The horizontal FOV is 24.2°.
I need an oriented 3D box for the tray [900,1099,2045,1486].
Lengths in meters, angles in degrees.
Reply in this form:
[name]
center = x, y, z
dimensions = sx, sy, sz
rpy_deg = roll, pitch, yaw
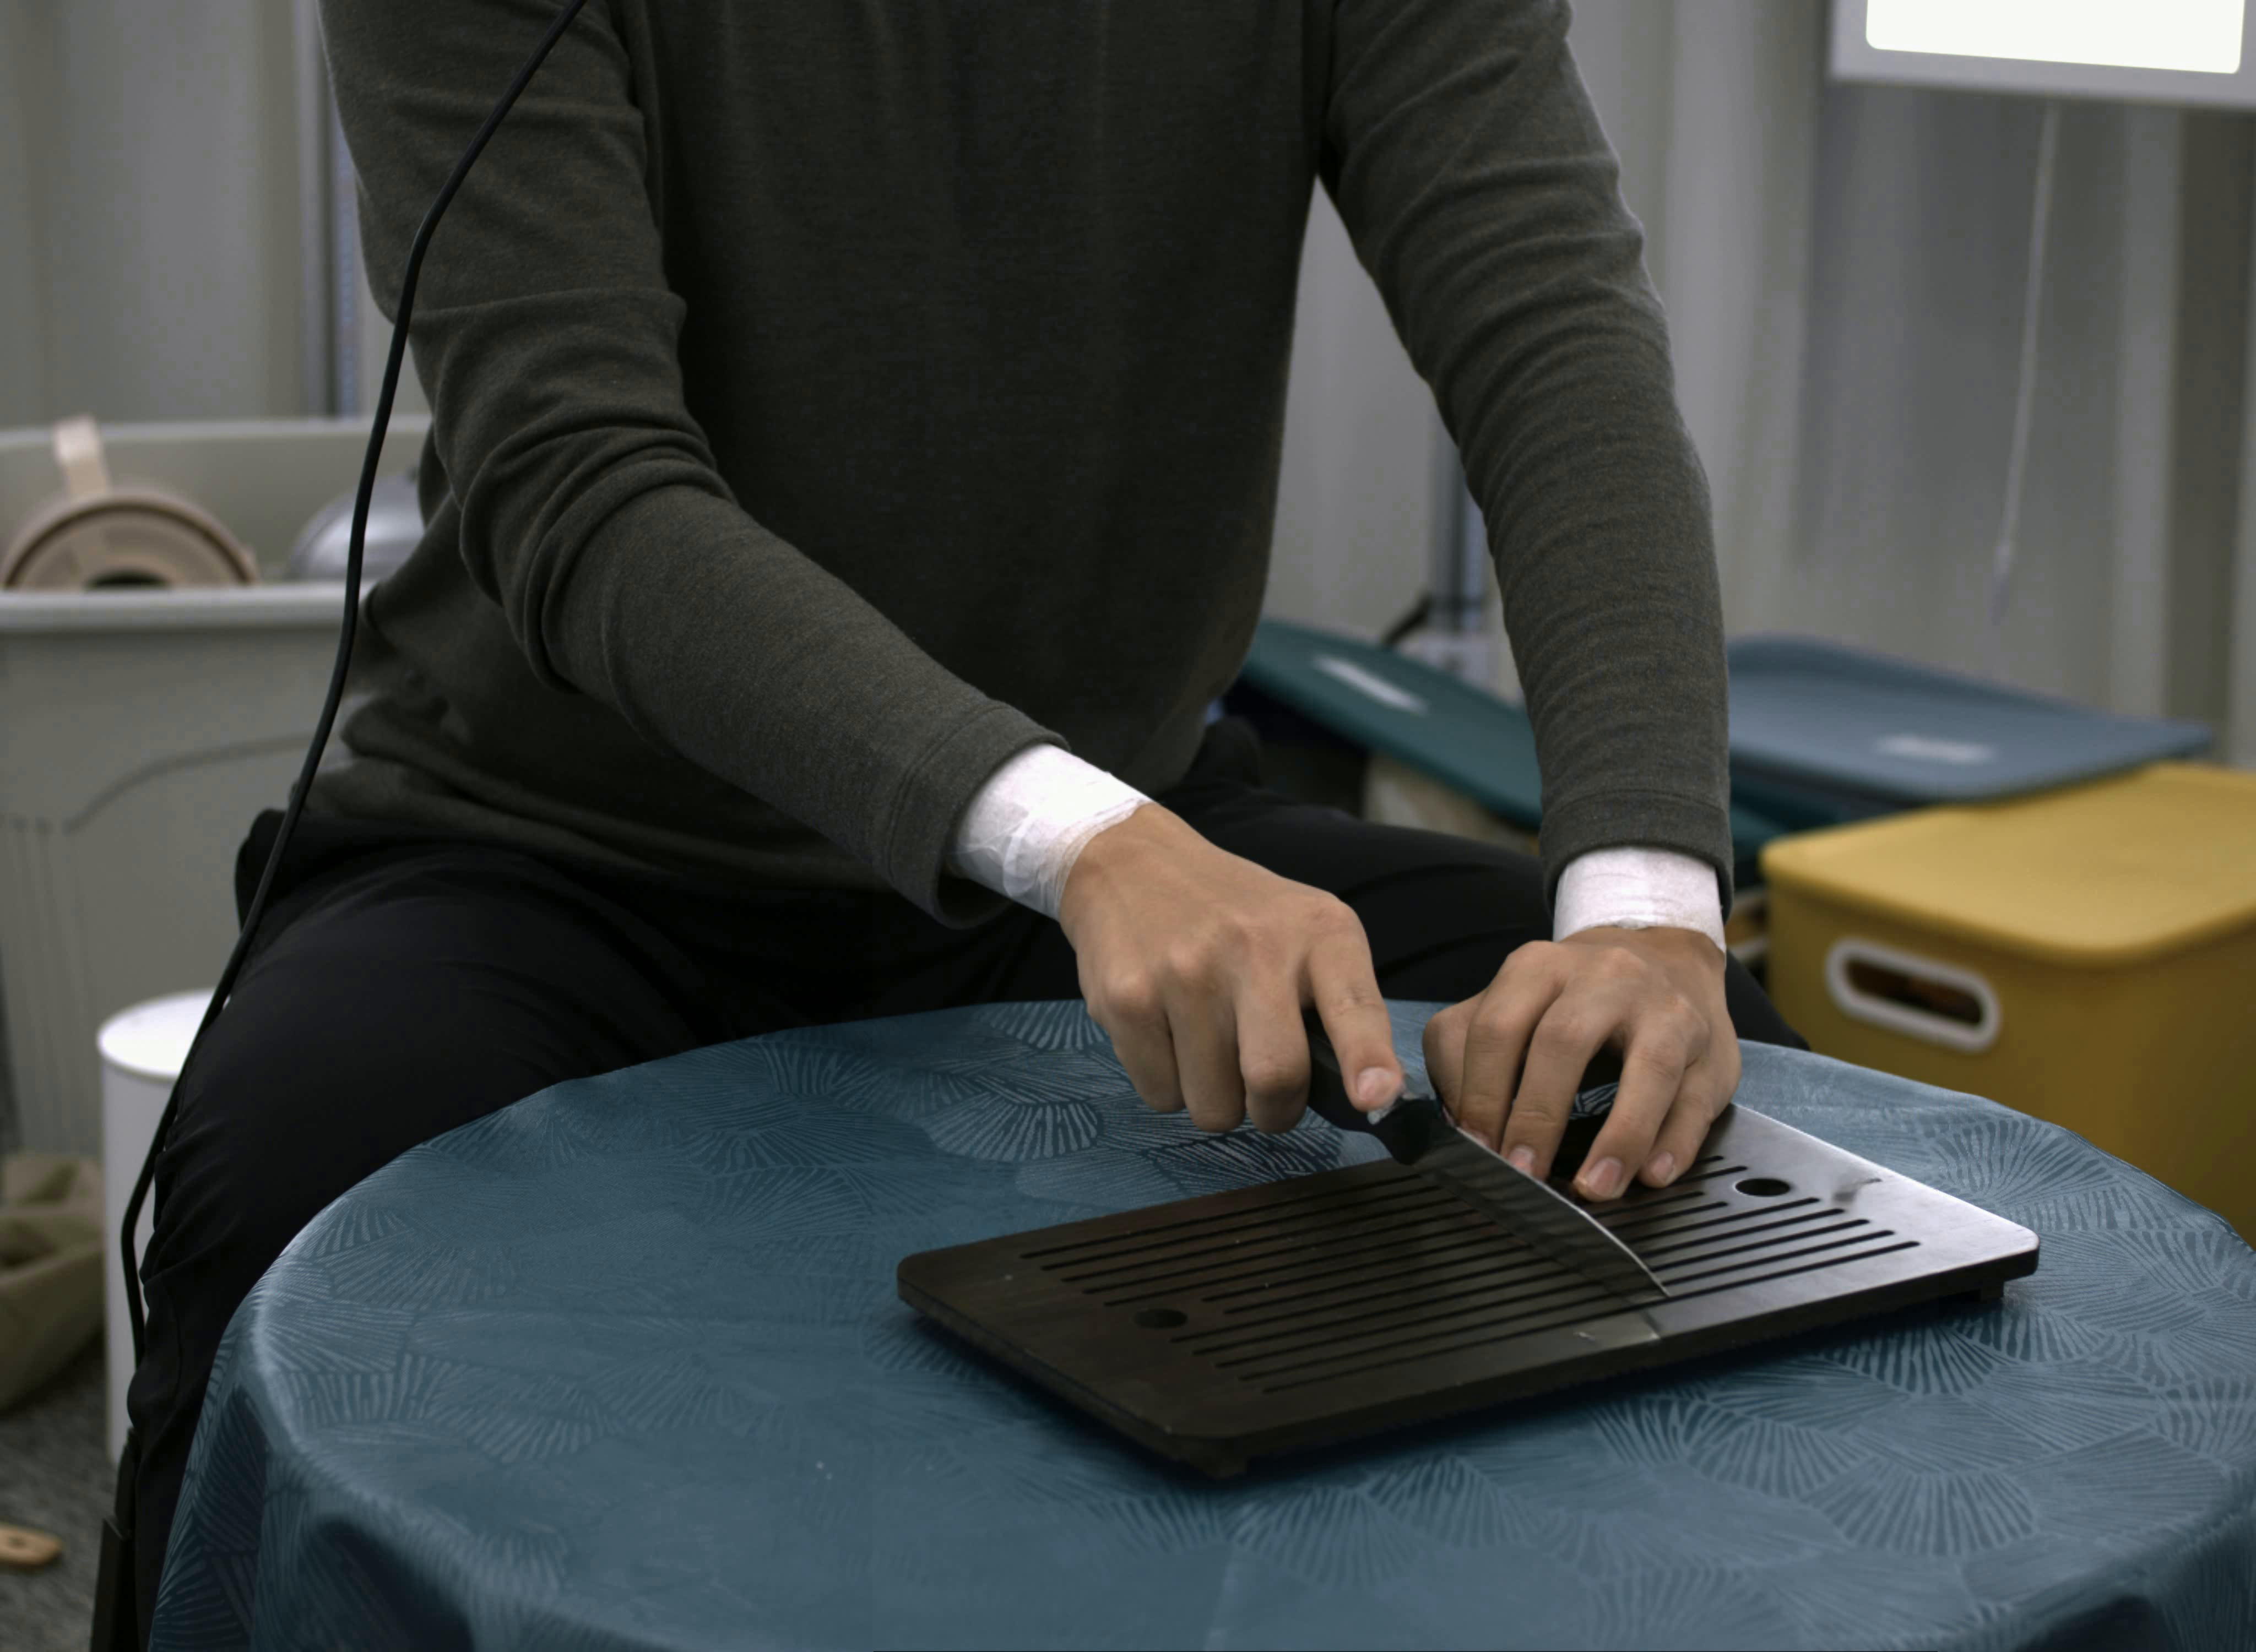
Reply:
[tray]
center = 0.101, 0.132, 1.526
dimensions = 0.307, 0.019, 0.168
rpy_deg = -9, 17, -32

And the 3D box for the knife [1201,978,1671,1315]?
[knife]
center = 0.090, 0.093, 1.566
dimensions = 0.016, 0.024, 0.235
rpy_deg = -2, 21, -34
